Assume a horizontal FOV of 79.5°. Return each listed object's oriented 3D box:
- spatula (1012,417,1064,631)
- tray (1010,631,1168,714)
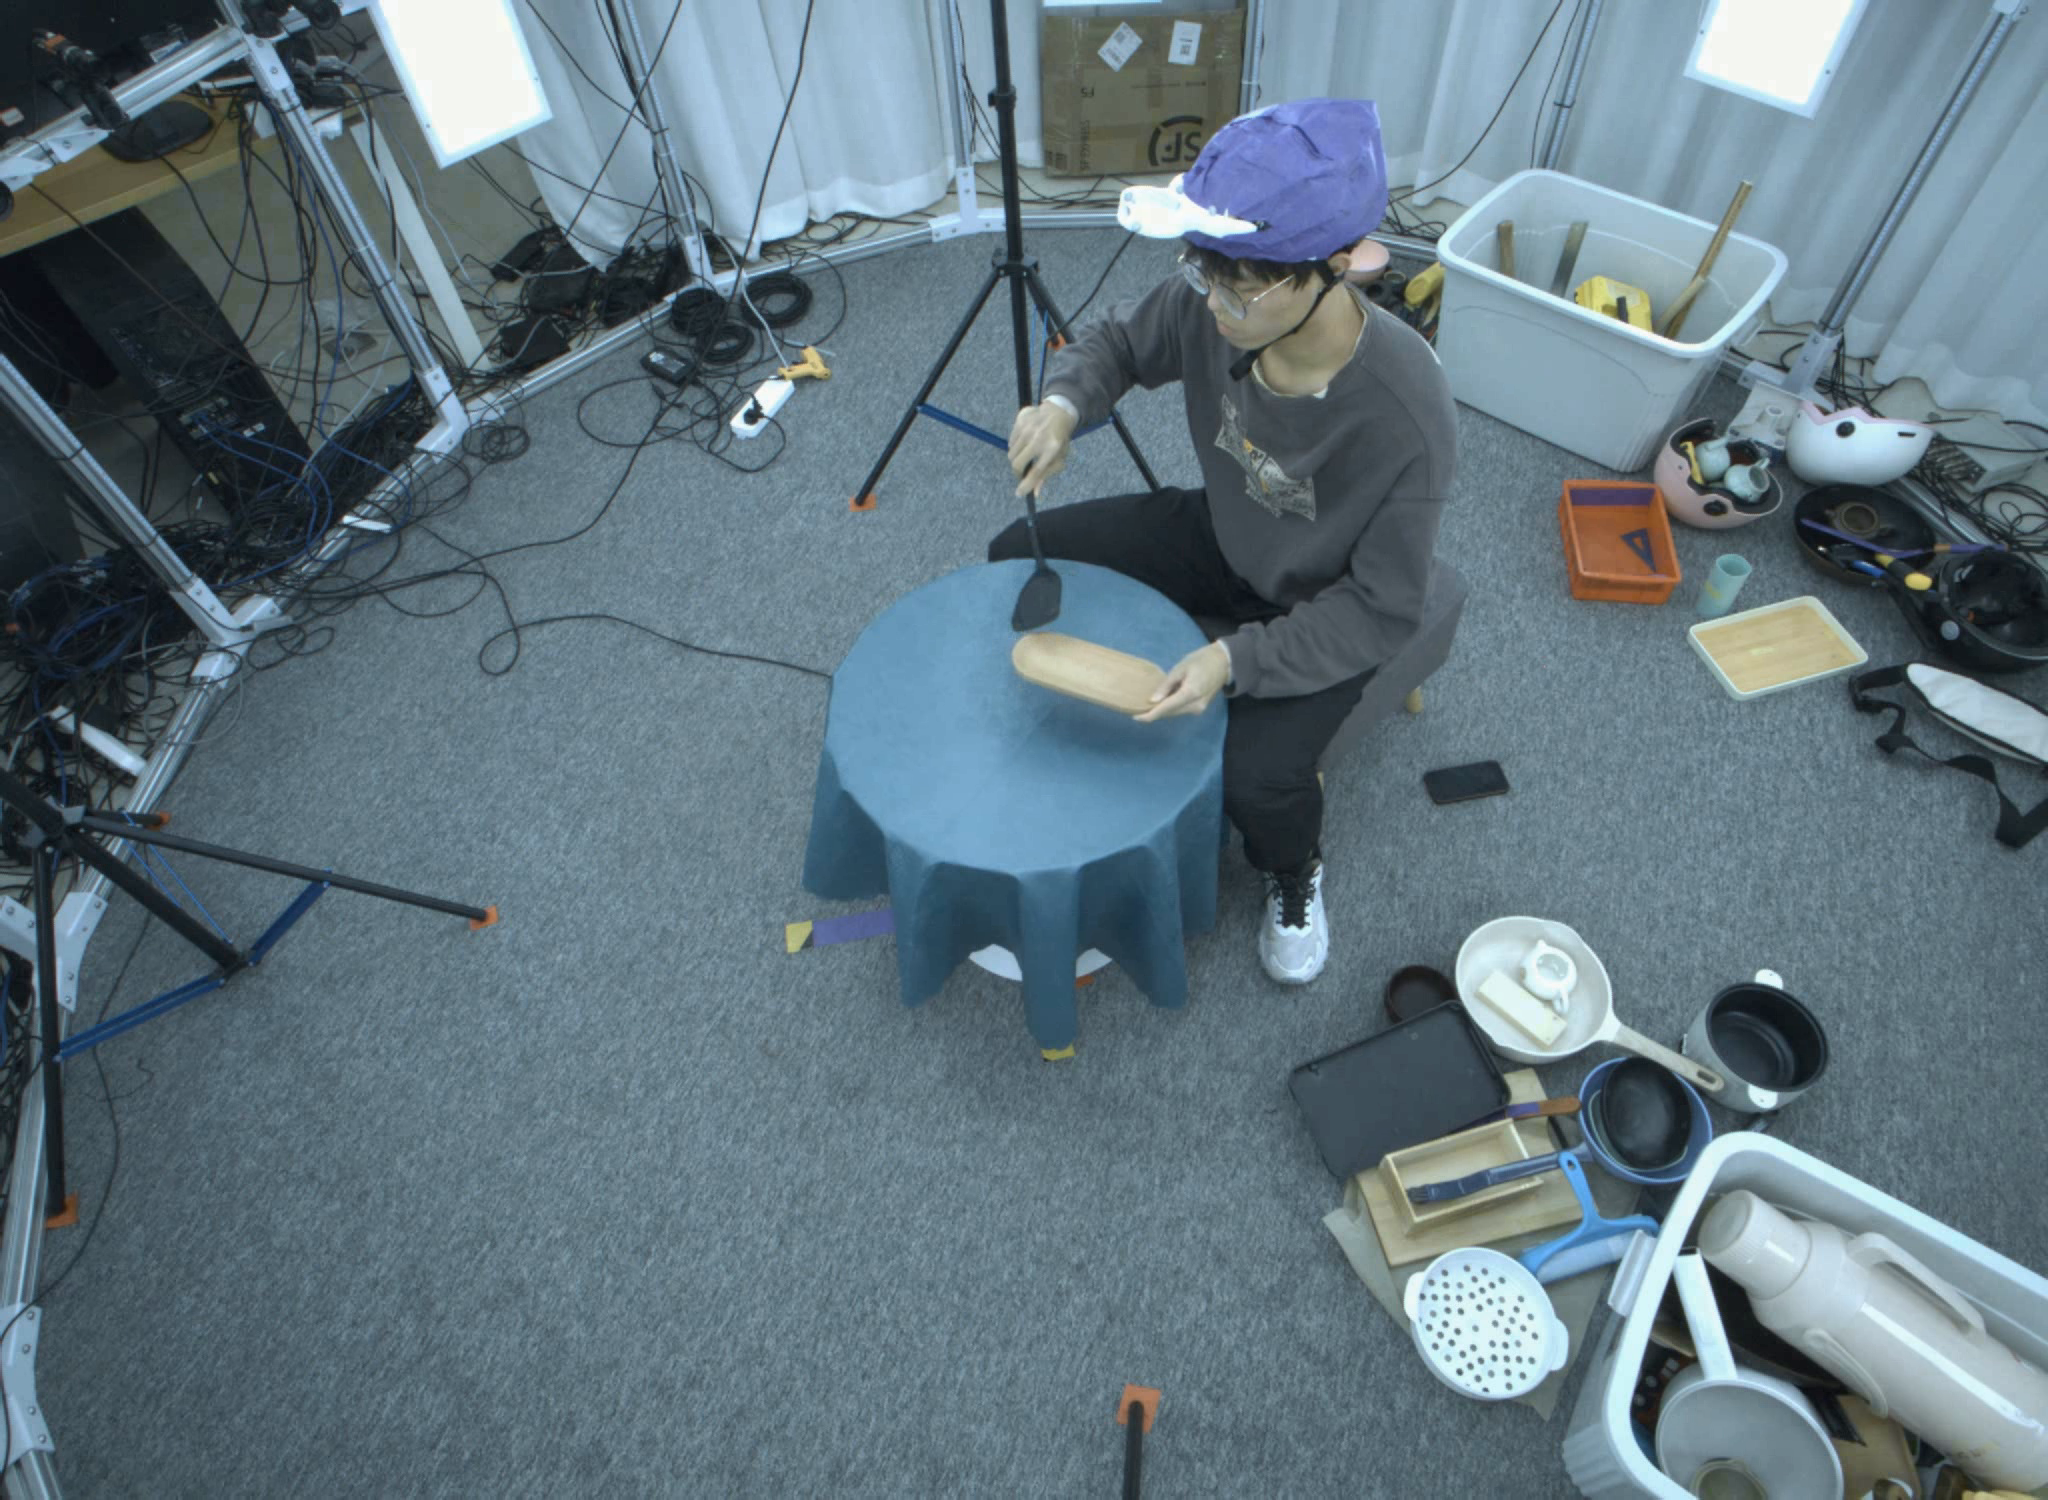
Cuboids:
[{"bbox_3d":[0.009,-0.336,1.785,0.041,0.098,0.325,-4,86,-48],"label":"spatula"},{"bbox_3d":[0.091,-0.110,1.743,0.229,0.020,0.101,18,50,10],"label":"tray"}]
